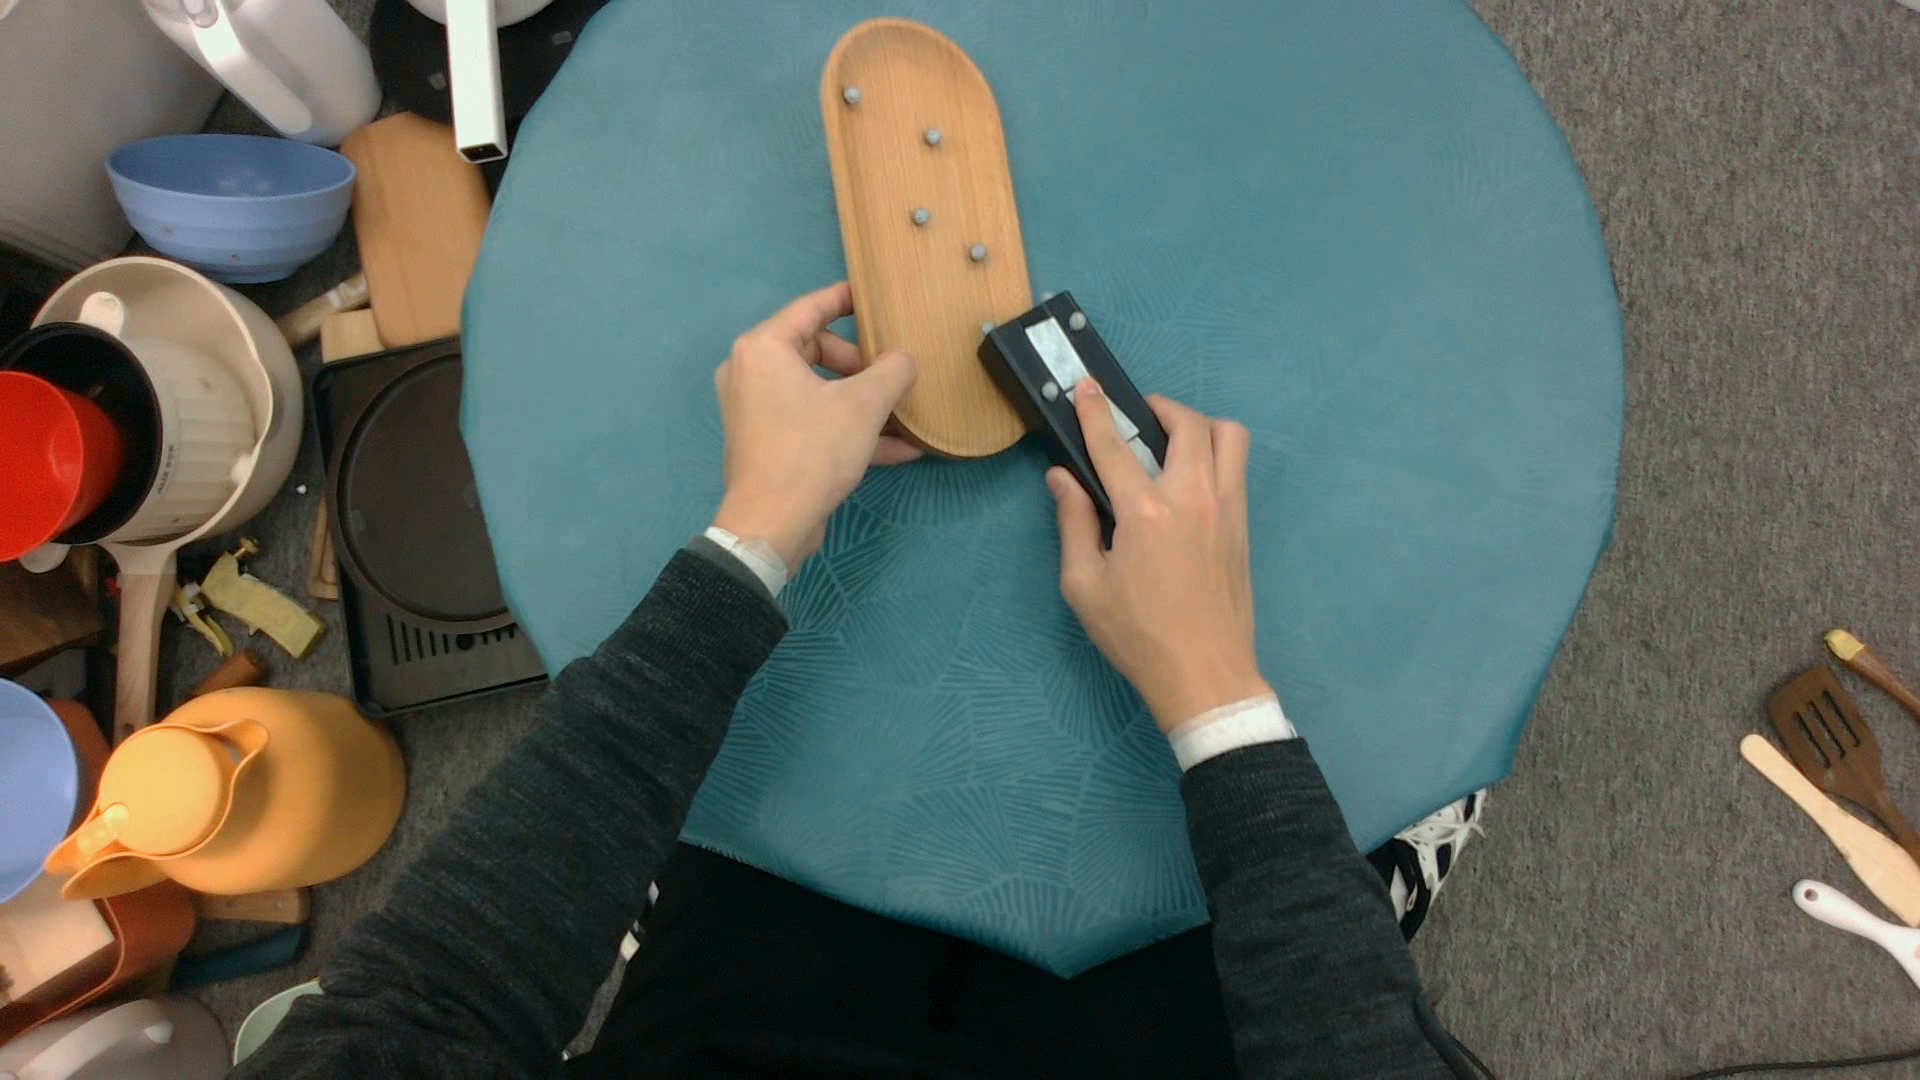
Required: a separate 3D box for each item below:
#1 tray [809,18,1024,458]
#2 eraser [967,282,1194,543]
[{"bbox_3d":[-0.020,-0.153,0.692,0.102,0.020,0.231,-4,81,-31],"label":"tray"},{"bbox_3d":[0.057,-0.063,0.679,0.053,0.030,0.125,-32,80,-14],"label":"eraser"}]
